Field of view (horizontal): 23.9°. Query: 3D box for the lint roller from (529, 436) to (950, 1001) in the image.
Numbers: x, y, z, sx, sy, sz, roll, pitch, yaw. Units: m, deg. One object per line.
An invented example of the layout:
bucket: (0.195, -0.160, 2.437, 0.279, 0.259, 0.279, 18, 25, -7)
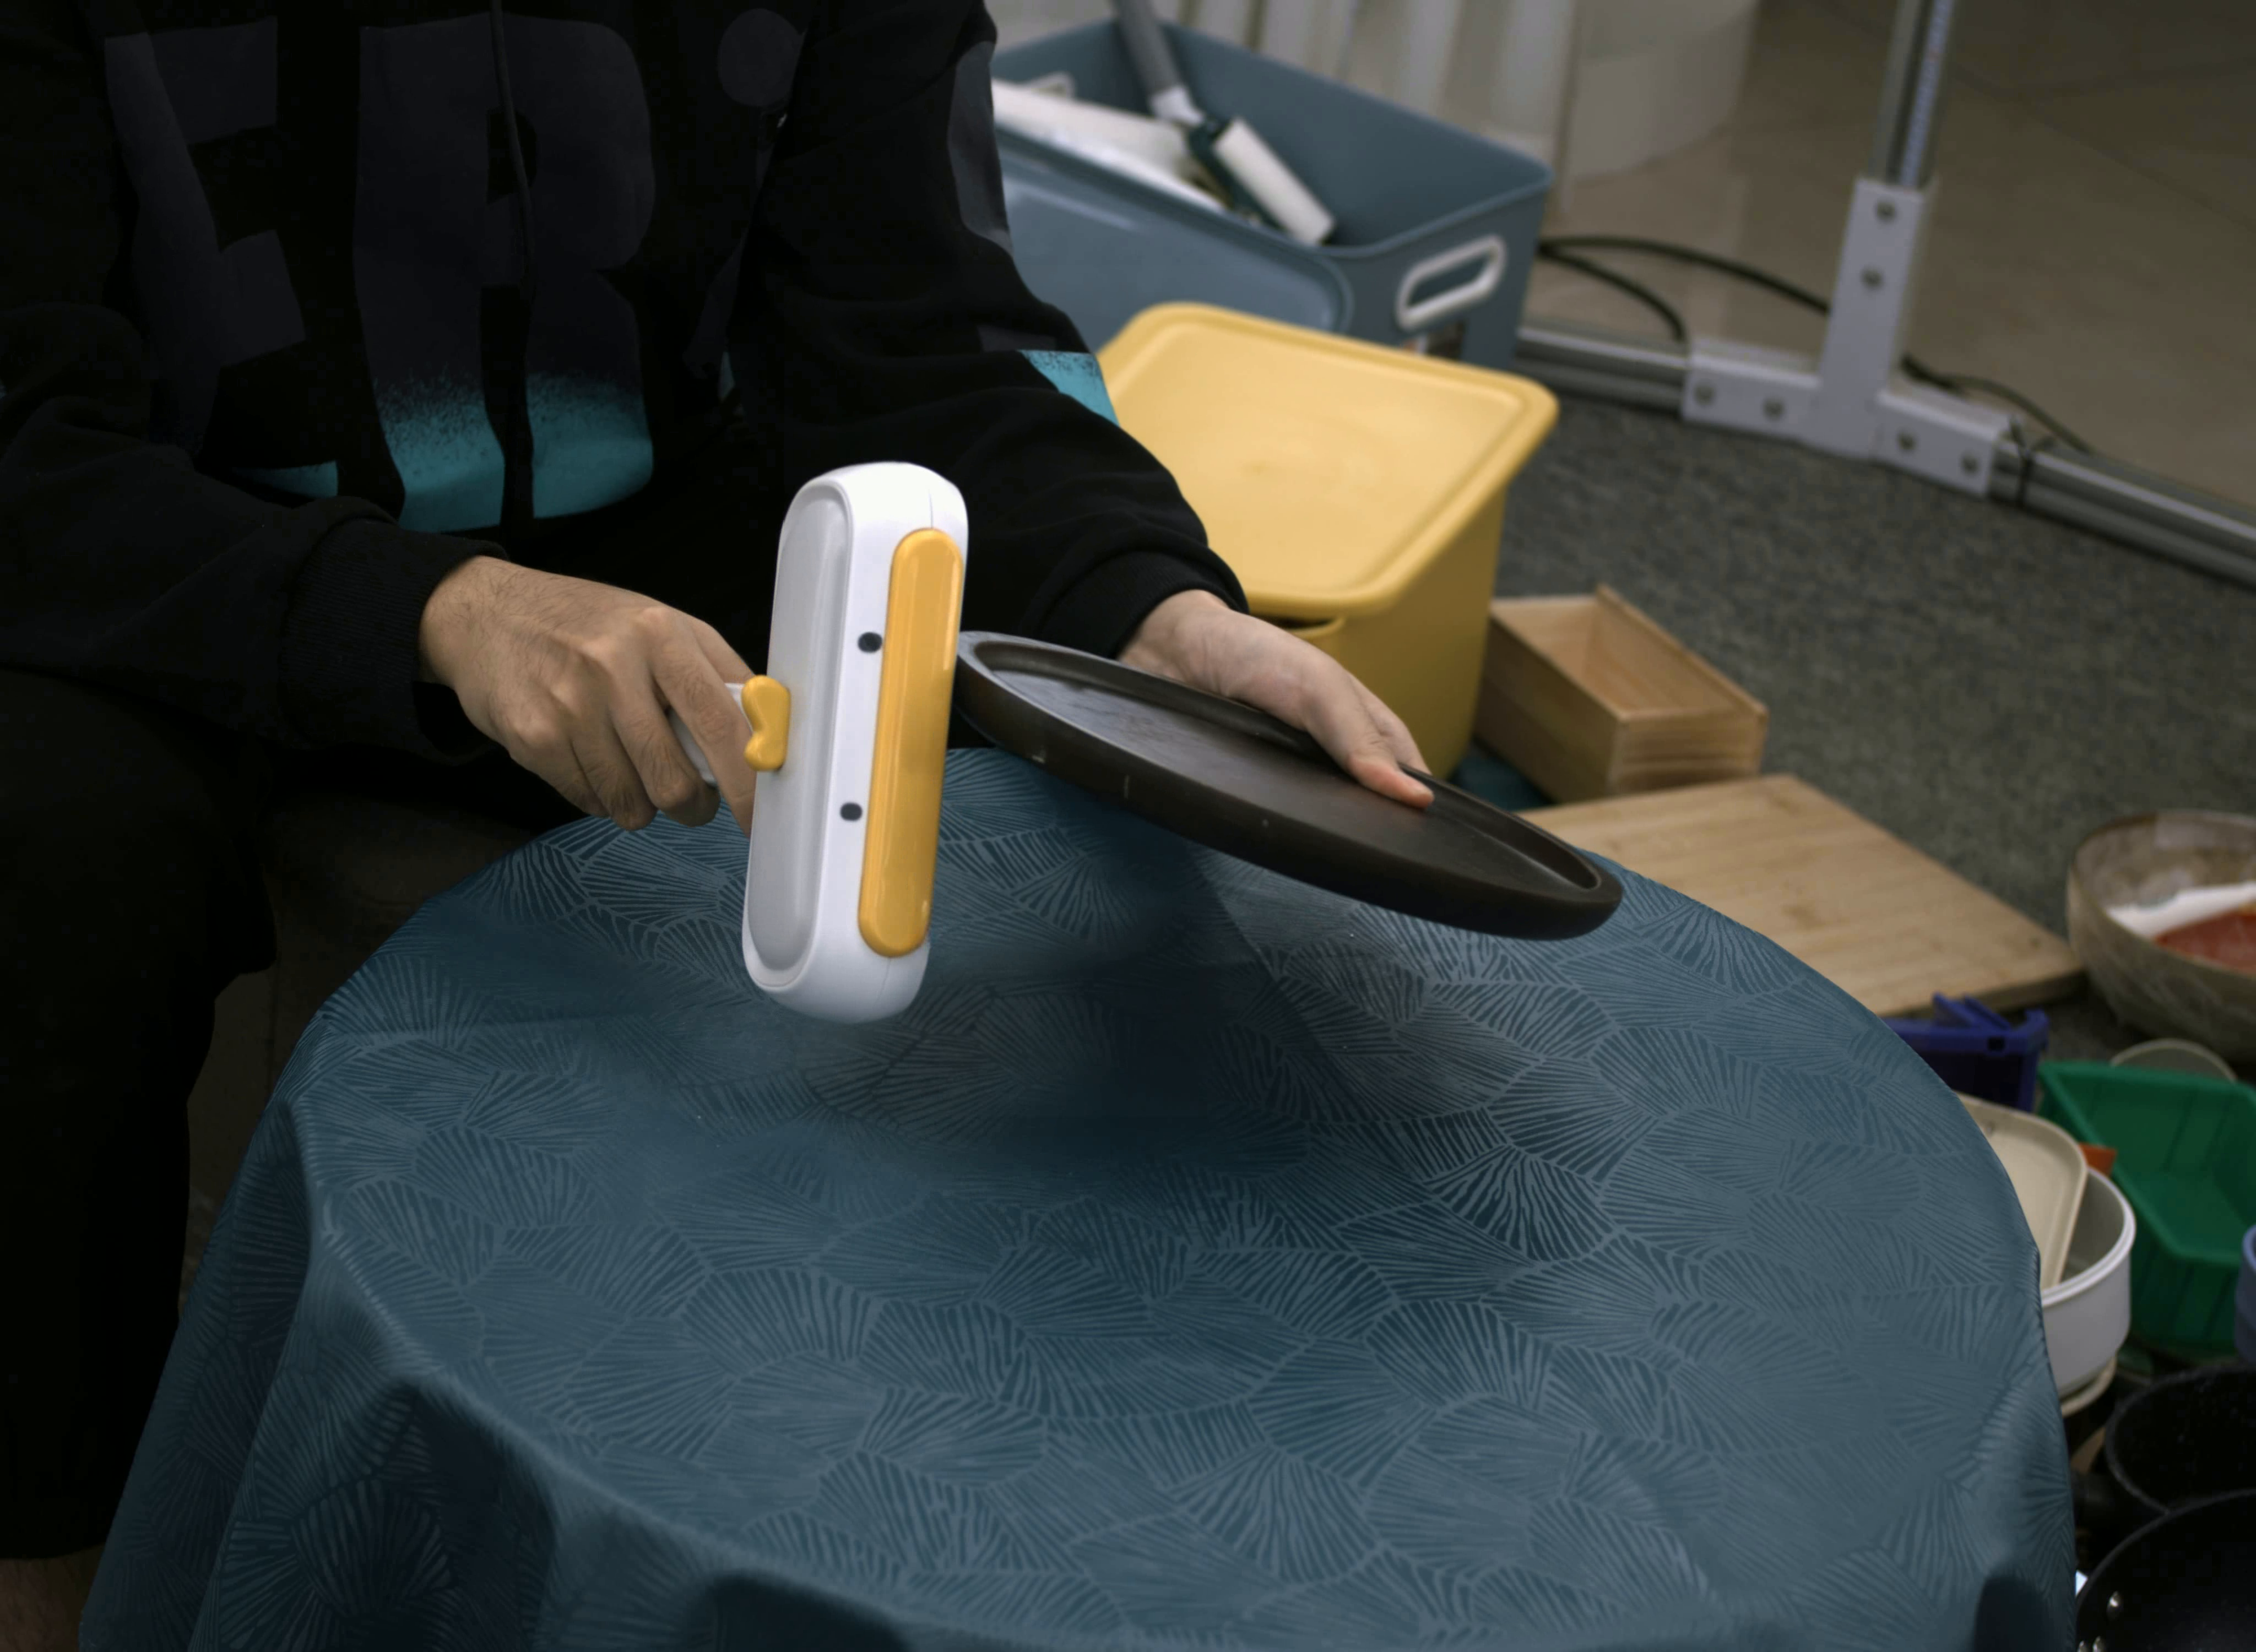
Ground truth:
lint roller: (-0.135, -0.034, 1.856, 0.073, 0.193, 0.193, 3, -6, -38)

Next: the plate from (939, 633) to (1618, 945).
plate: (0.049, -0.013, 1.852, 0.254, 0.029, 0.255, 19, 8, -3)
